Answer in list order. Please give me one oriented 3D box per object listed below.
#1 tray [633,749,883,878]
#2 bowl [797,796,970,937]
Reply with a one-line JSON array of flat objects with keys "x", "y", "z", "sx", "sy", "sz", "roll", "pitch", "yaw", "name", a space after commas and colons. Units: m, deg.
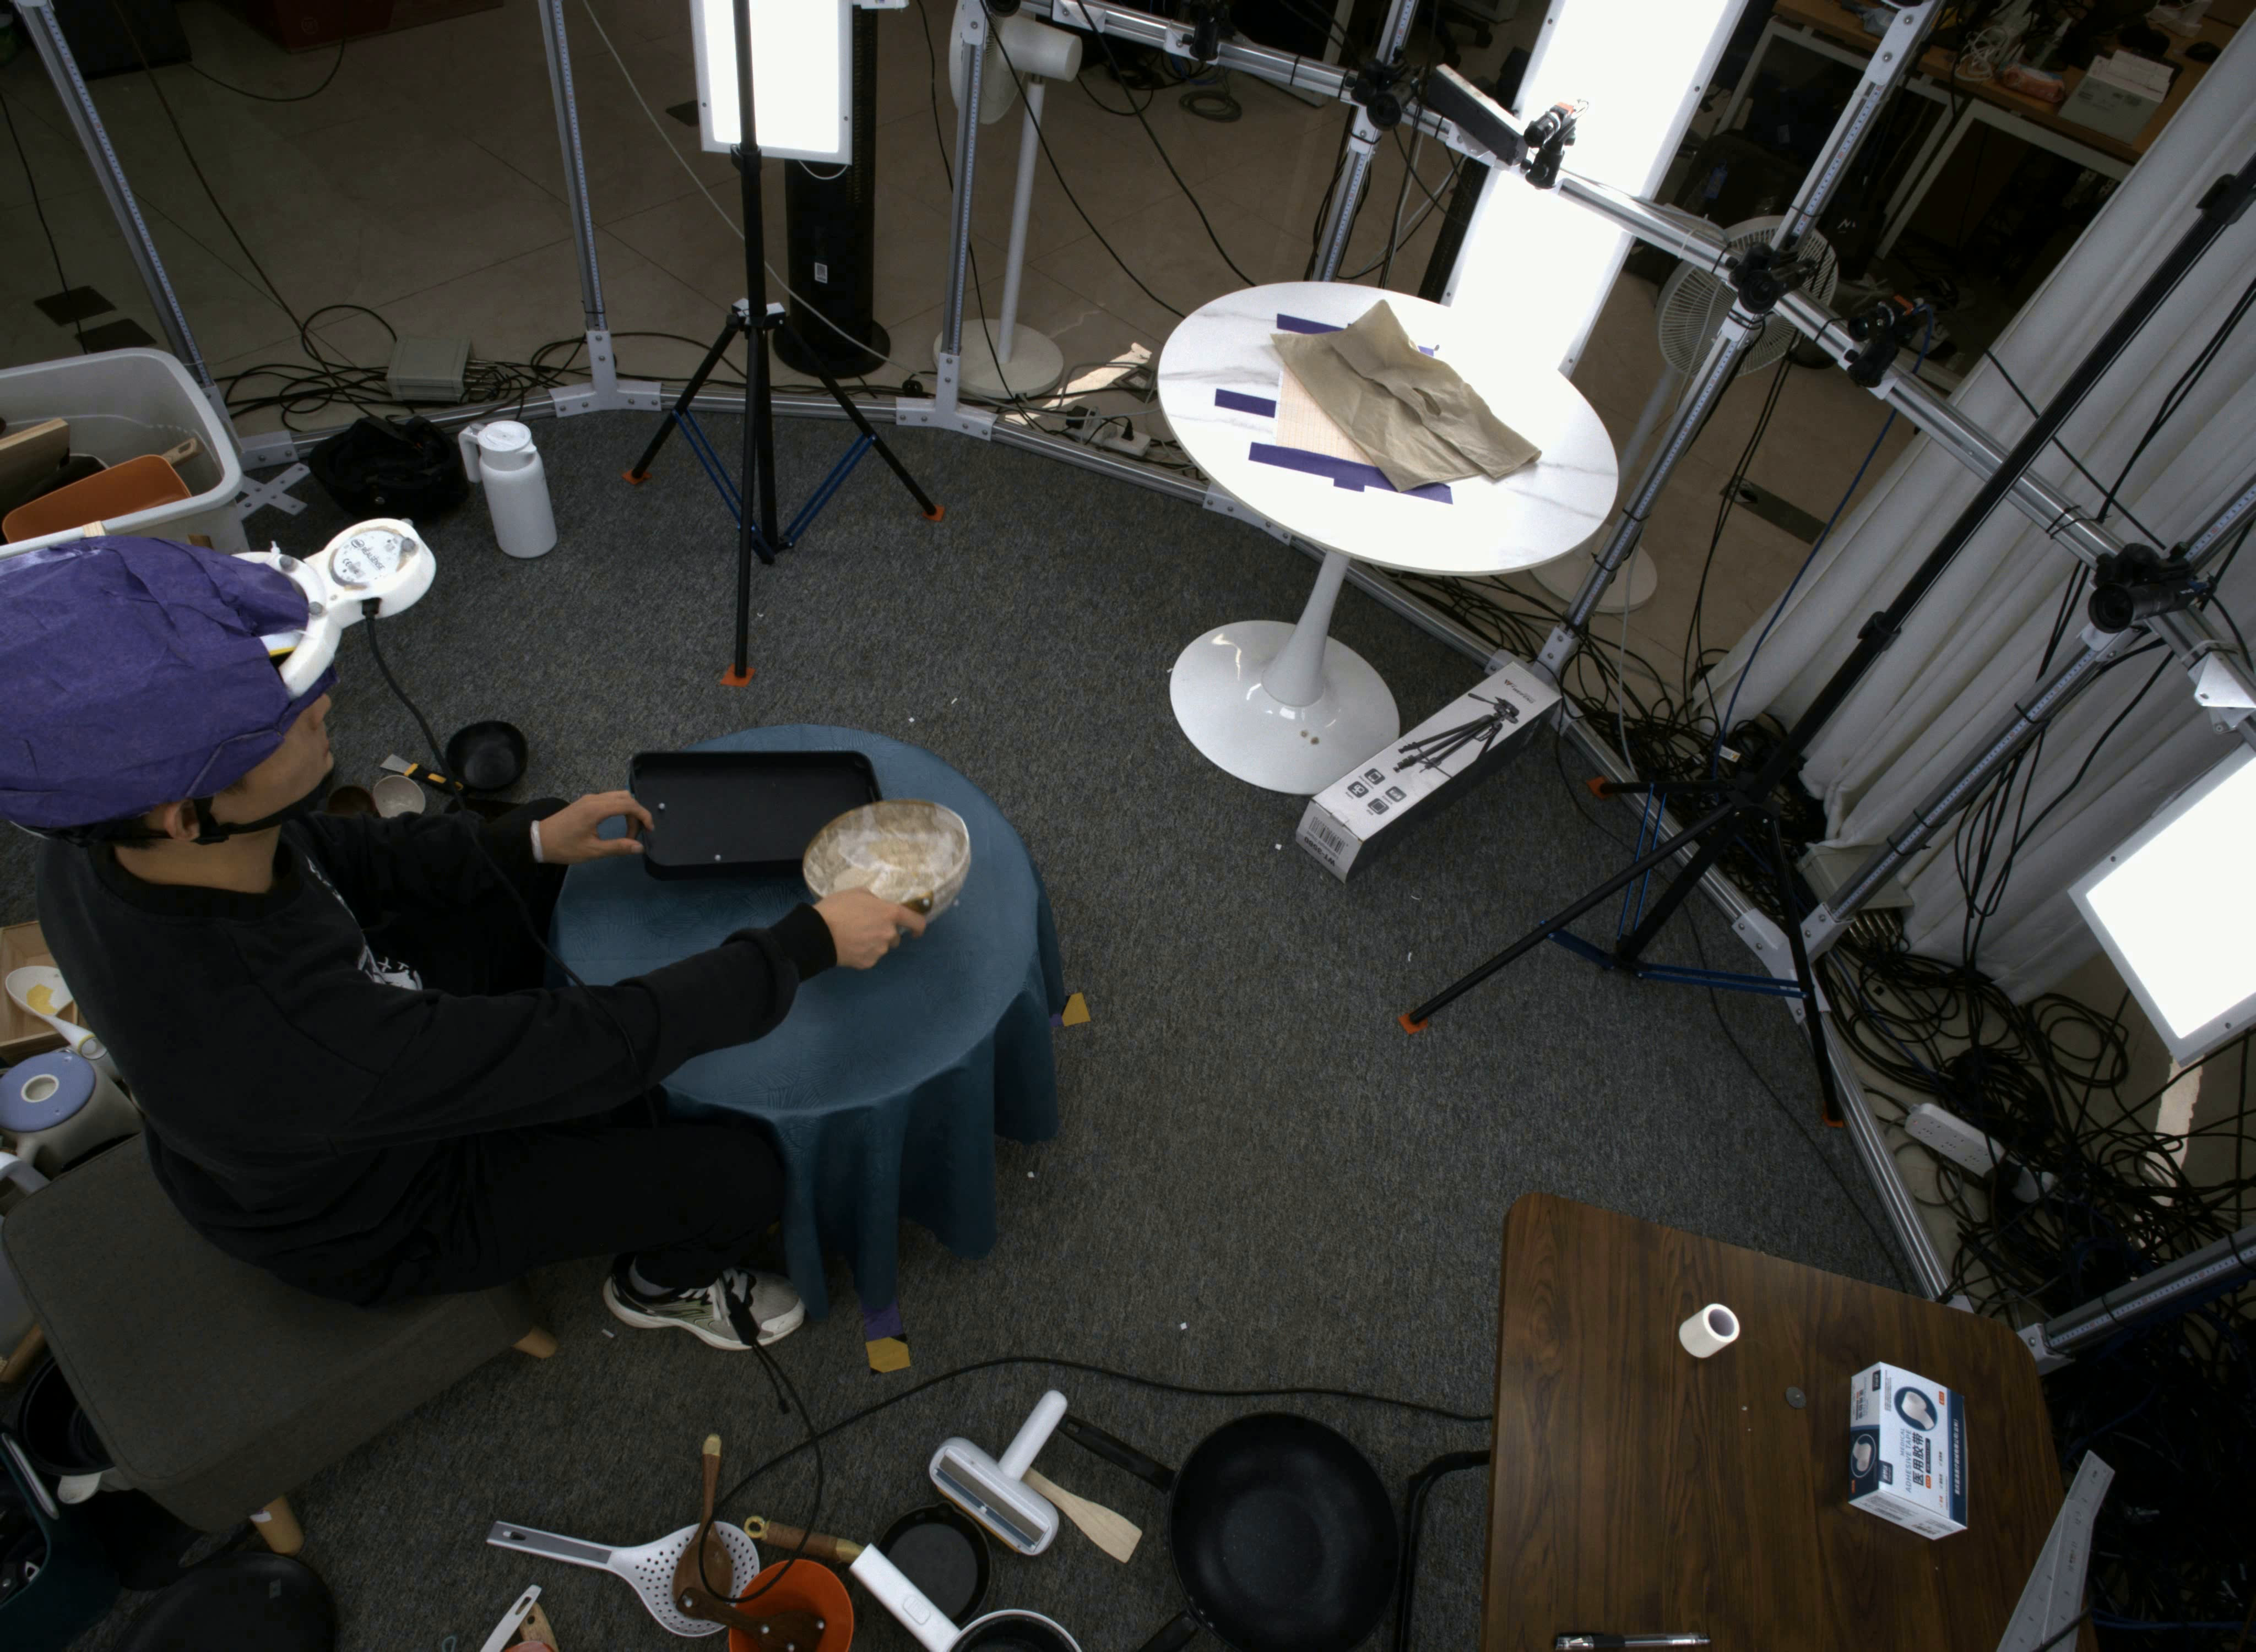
[{"x": -0.469, "y": -0.017, "z": 1.665, "sx": 0.323, "sy": 0.037, "sz": 0.179, "roll": 1, "pitch": 51, "yaw": -33, "name": "tray"}, {"x": -0.291, "y": 0.064, "z": 1.592, "sx": 0.212, "sy": 0.098, "sz": 0.210, "roll": -2, "pitch": 41, "yaw": 3, "name": "bowl"}]
